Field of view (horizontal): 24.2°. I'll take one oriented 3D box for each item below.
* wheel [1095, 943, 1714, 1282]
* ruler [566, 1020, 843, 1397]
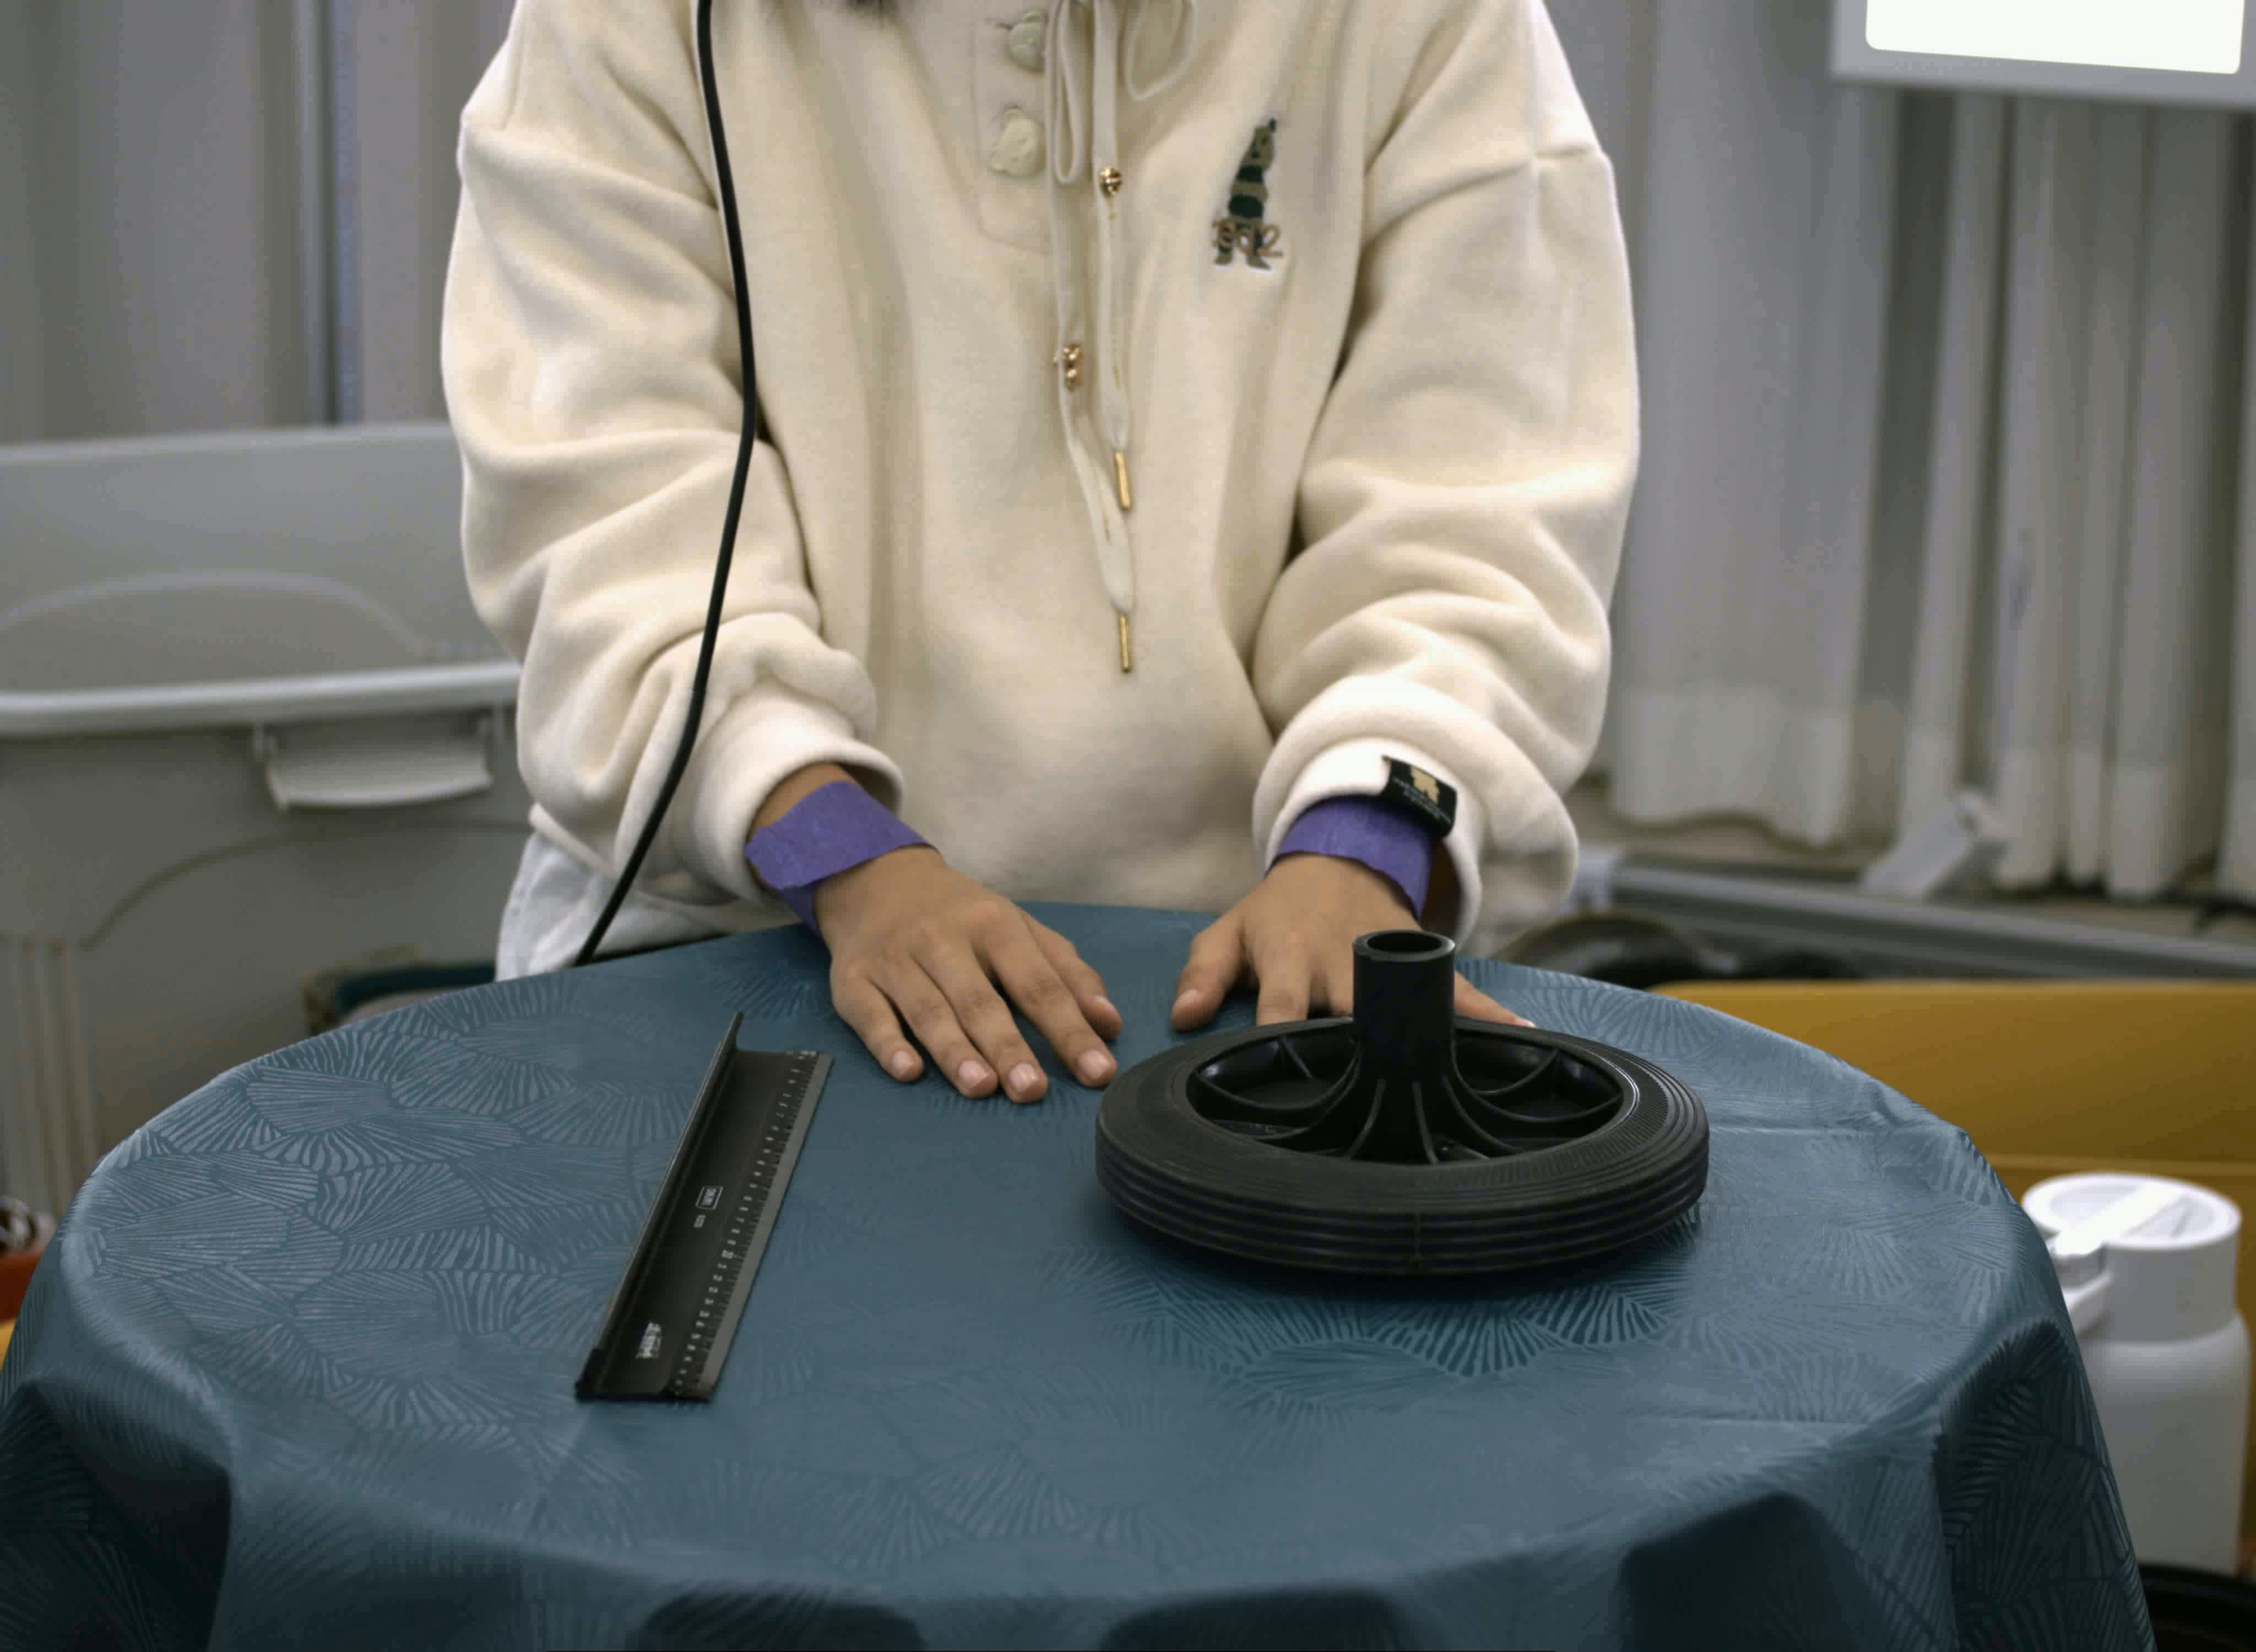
[{"bbox_3d":[0.084,0.078,1.605,0.187,0.080,0.188,12,19,34],"label":"wheel"},{"bbox_3d":[-0.125,0.111,1.594,0.039,0.017,0.311,5,15,3],"label":"ruler"}]
